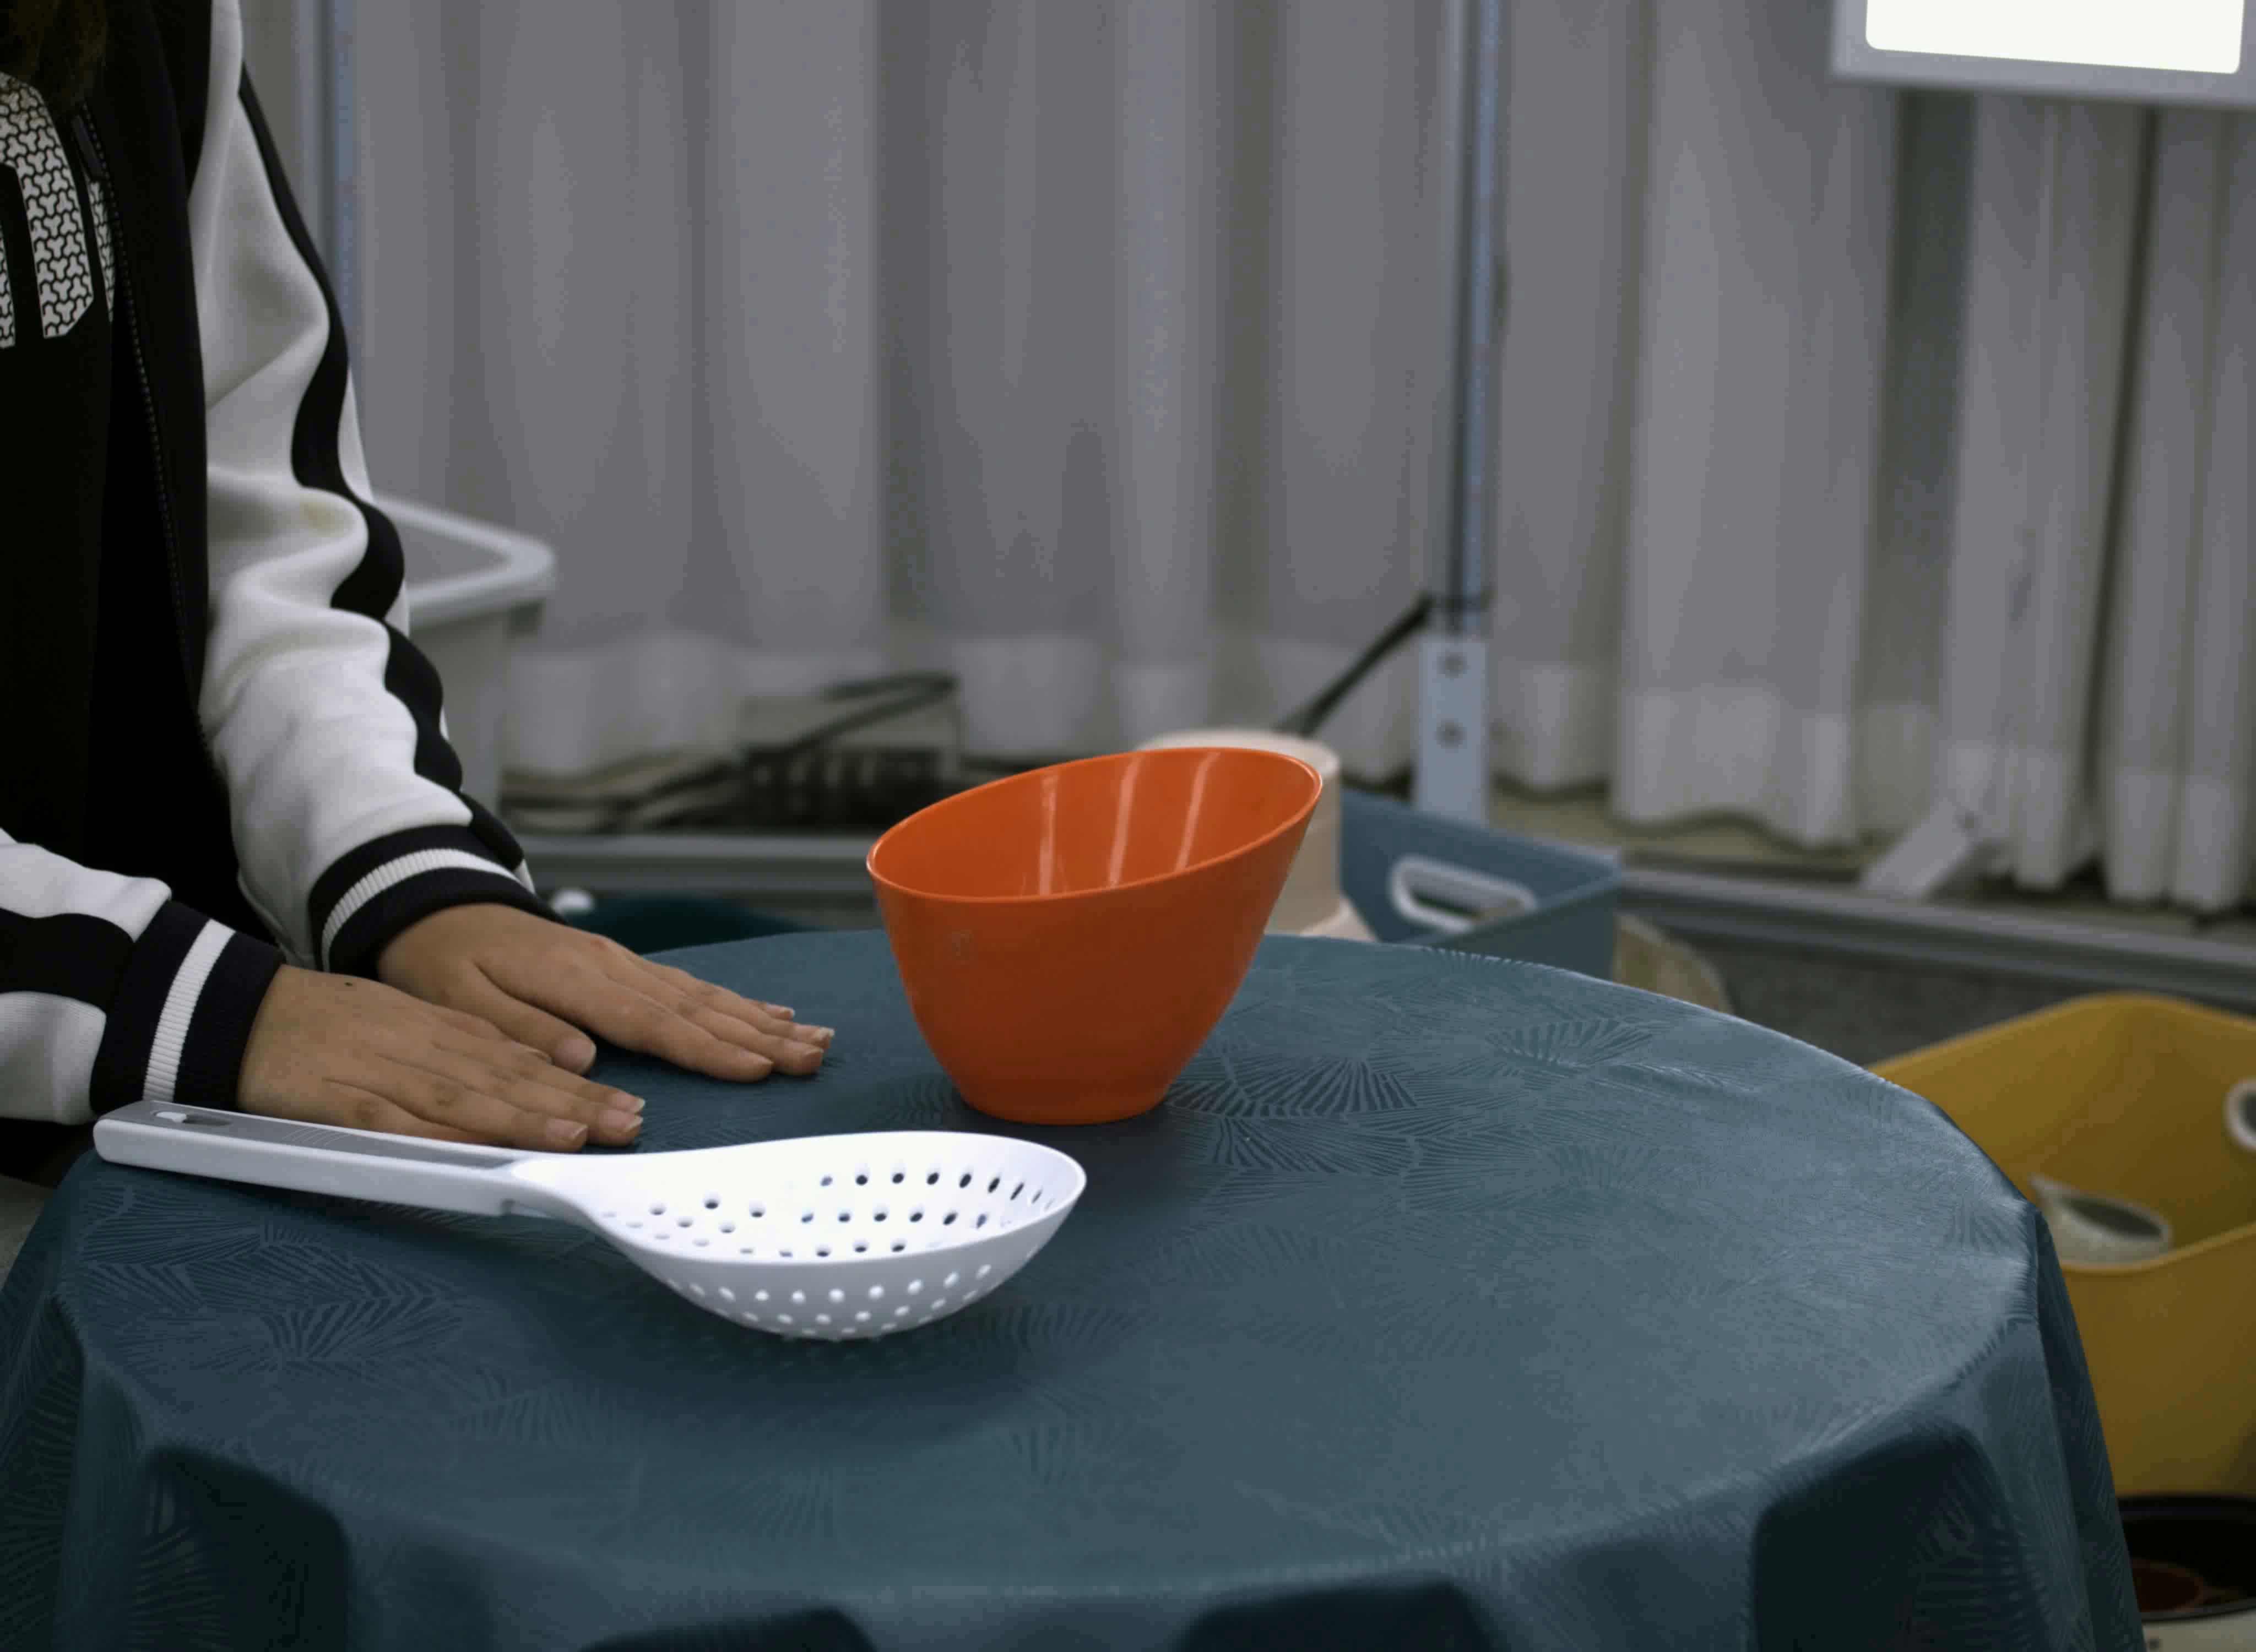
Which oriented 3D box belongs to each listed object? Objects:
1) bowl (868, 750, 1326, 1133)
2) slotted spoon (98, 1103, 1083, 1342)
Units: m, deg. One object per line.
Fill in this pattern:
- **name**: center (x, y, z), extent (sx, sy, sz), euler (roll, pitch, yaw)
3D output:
- **bowl**: center (-0.009, 0.039, 1.698), extent (0.147, 0.105, 0.147), euler (-1, 17, 1)
- **slotted spoon**: center (-0.170, 0.106, 1.554), extent (0.345, 0.046, 0.136), euler (9, 16, 31)
